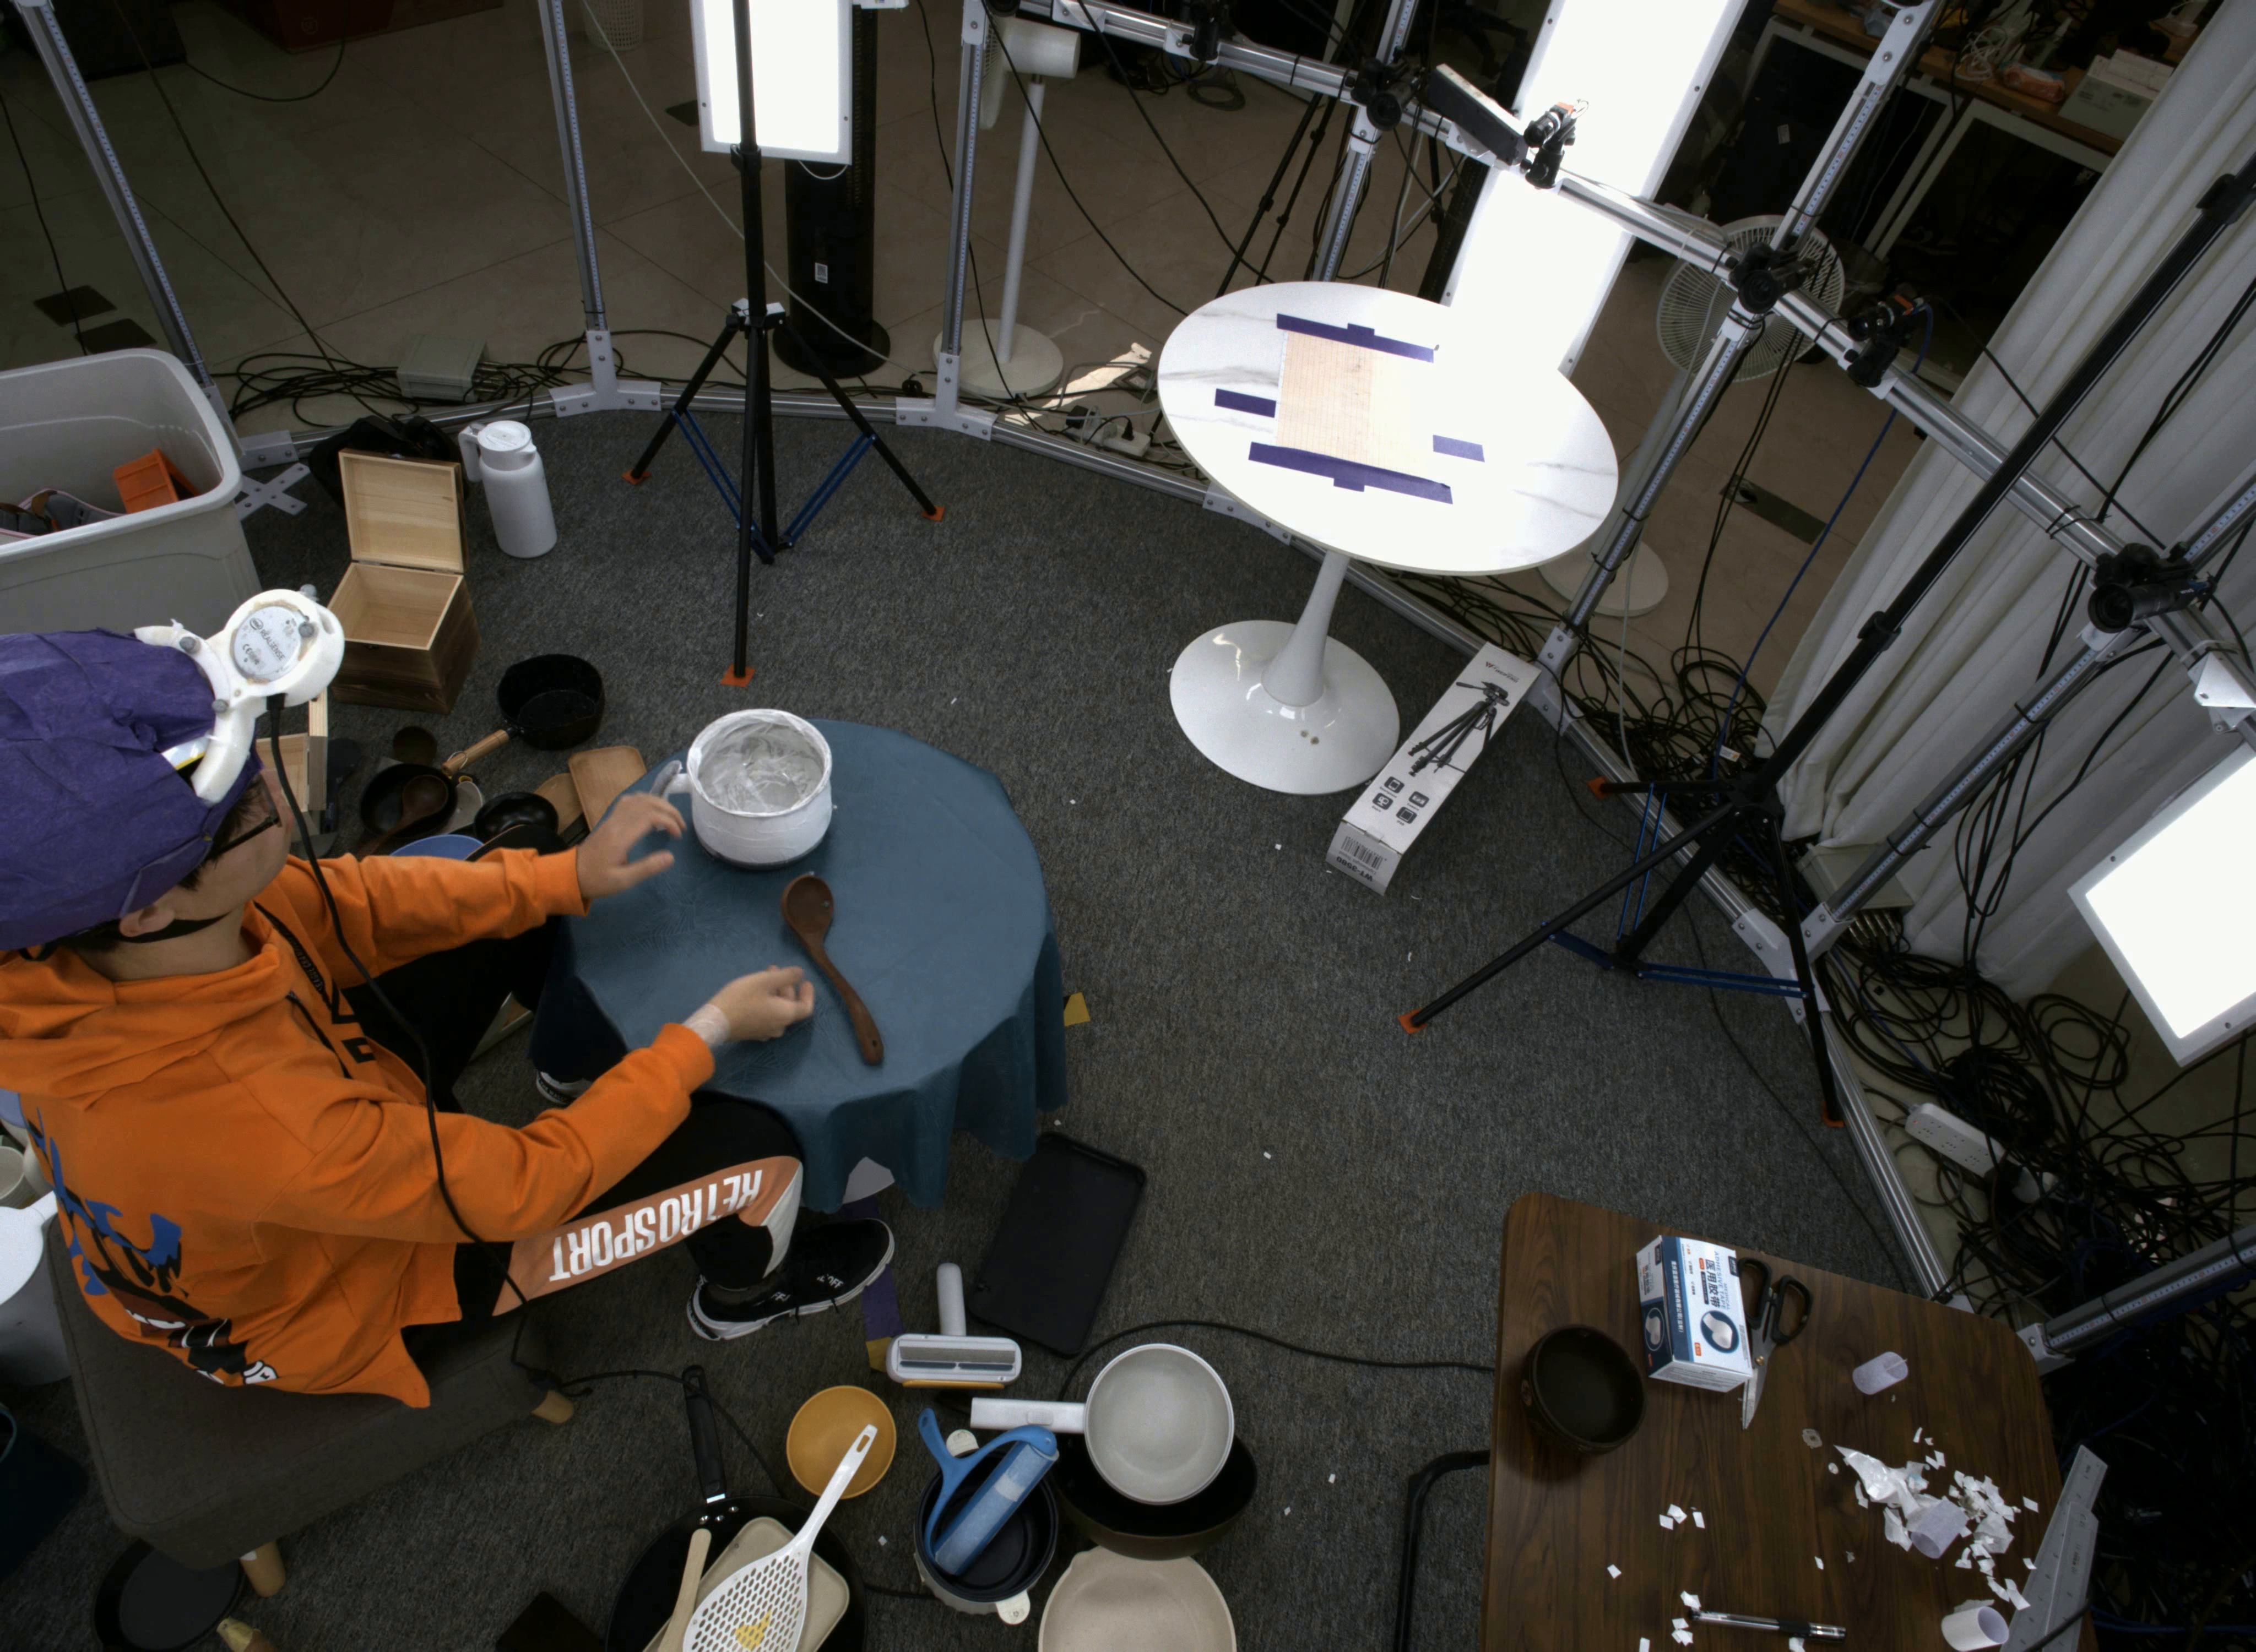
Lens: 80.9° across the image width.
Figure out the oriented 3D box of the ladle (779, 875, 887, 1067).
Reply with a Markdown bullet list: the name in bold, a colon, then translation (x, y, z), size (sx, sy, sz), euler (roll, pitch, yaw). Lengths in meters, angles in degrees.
- **ladle**: translation (-0.347, 0.168, 1.569), size (0.078, 0.065, 0.253), euler (-5, 50, -49)

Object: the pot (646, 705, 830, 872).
- **pot**: translation (-0.495, -0.042, 1.637), size (0.234, 0.139, 0.174), euler (-5, 54, -18)
